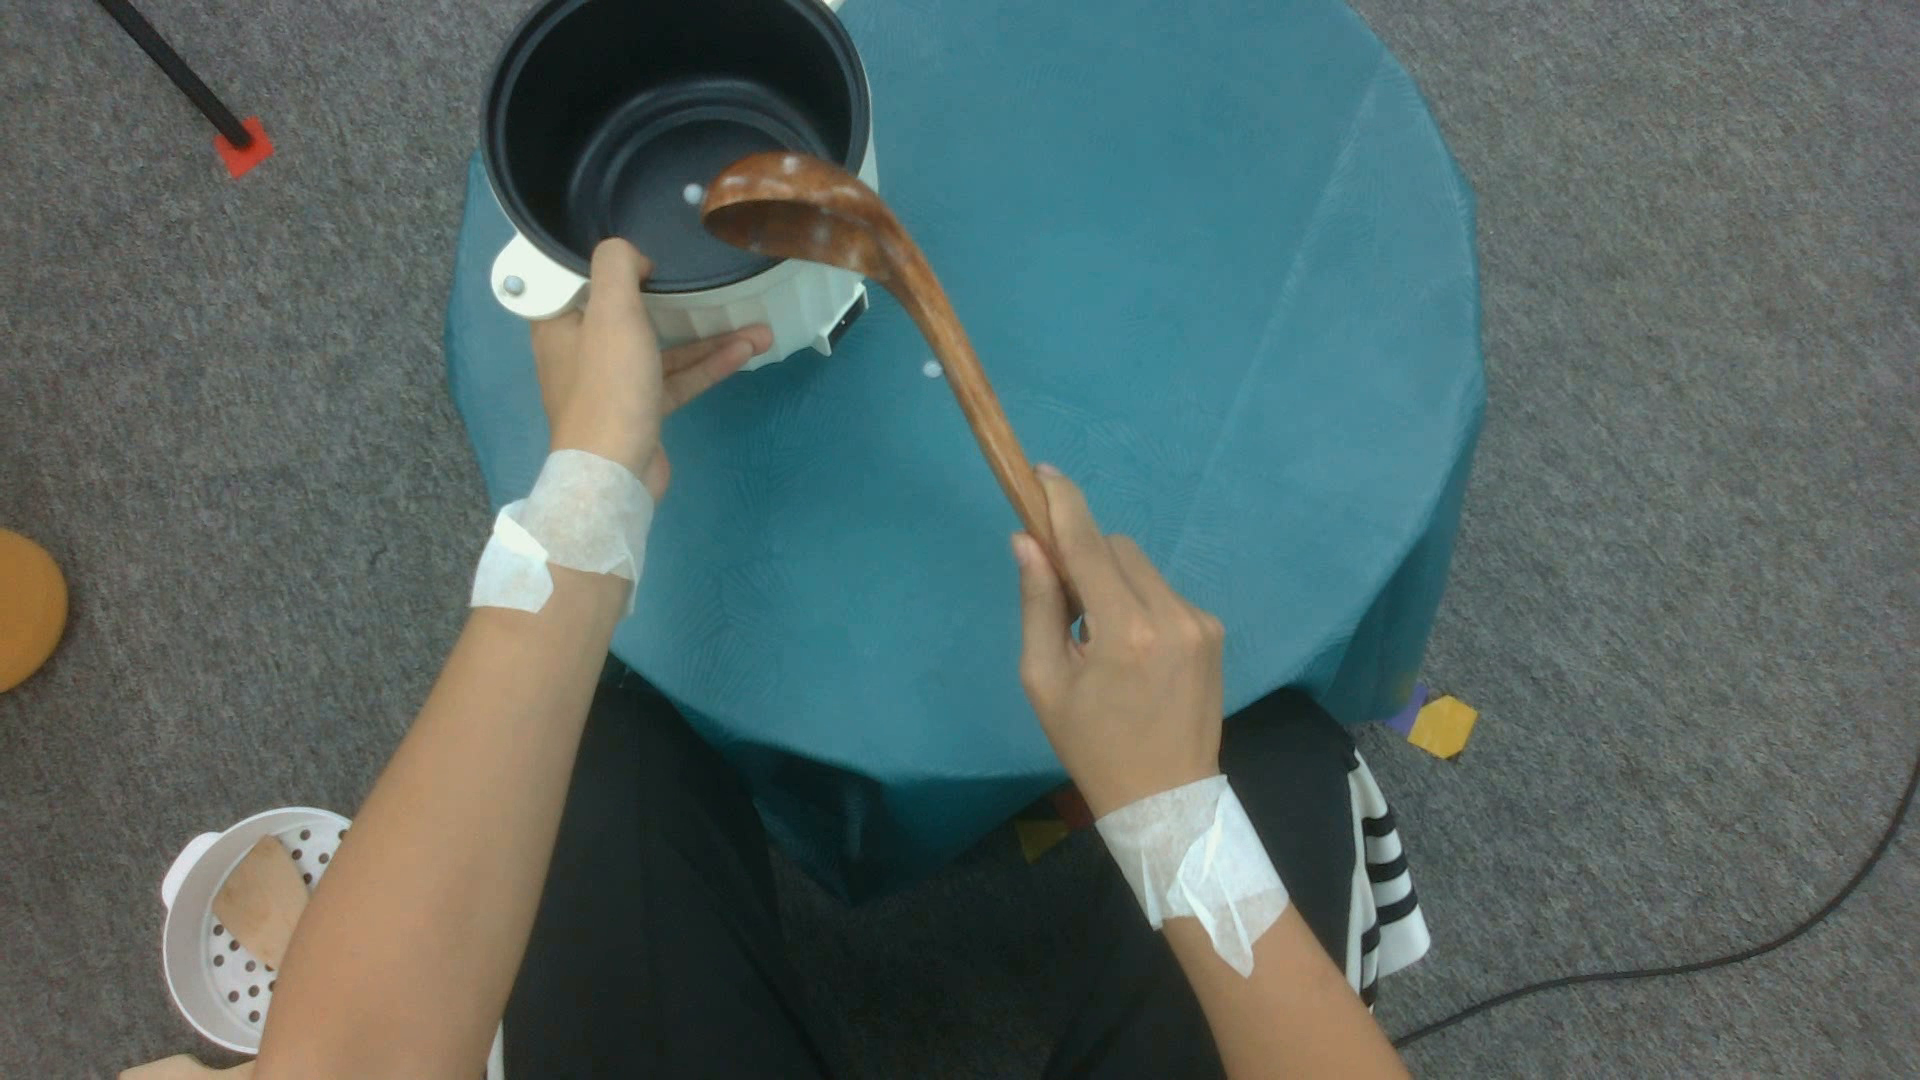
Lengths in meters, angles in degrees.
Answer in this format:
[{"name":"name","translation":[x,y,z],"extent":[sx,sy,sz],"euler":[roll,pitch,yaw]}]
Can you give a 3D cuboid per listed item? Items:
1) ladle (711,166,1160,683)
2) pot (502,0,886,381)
[{"name":"ladle","translation":[-0.012,-0.042,0.593],"extent":[0.076,0.082,0.274],"euler":[-30,92,-6]},{"name":"pot","translation":[-0.133,-0.180,0.722],"extent":[0.190,0.142,0.241],"euler":[35,76,7]}]
